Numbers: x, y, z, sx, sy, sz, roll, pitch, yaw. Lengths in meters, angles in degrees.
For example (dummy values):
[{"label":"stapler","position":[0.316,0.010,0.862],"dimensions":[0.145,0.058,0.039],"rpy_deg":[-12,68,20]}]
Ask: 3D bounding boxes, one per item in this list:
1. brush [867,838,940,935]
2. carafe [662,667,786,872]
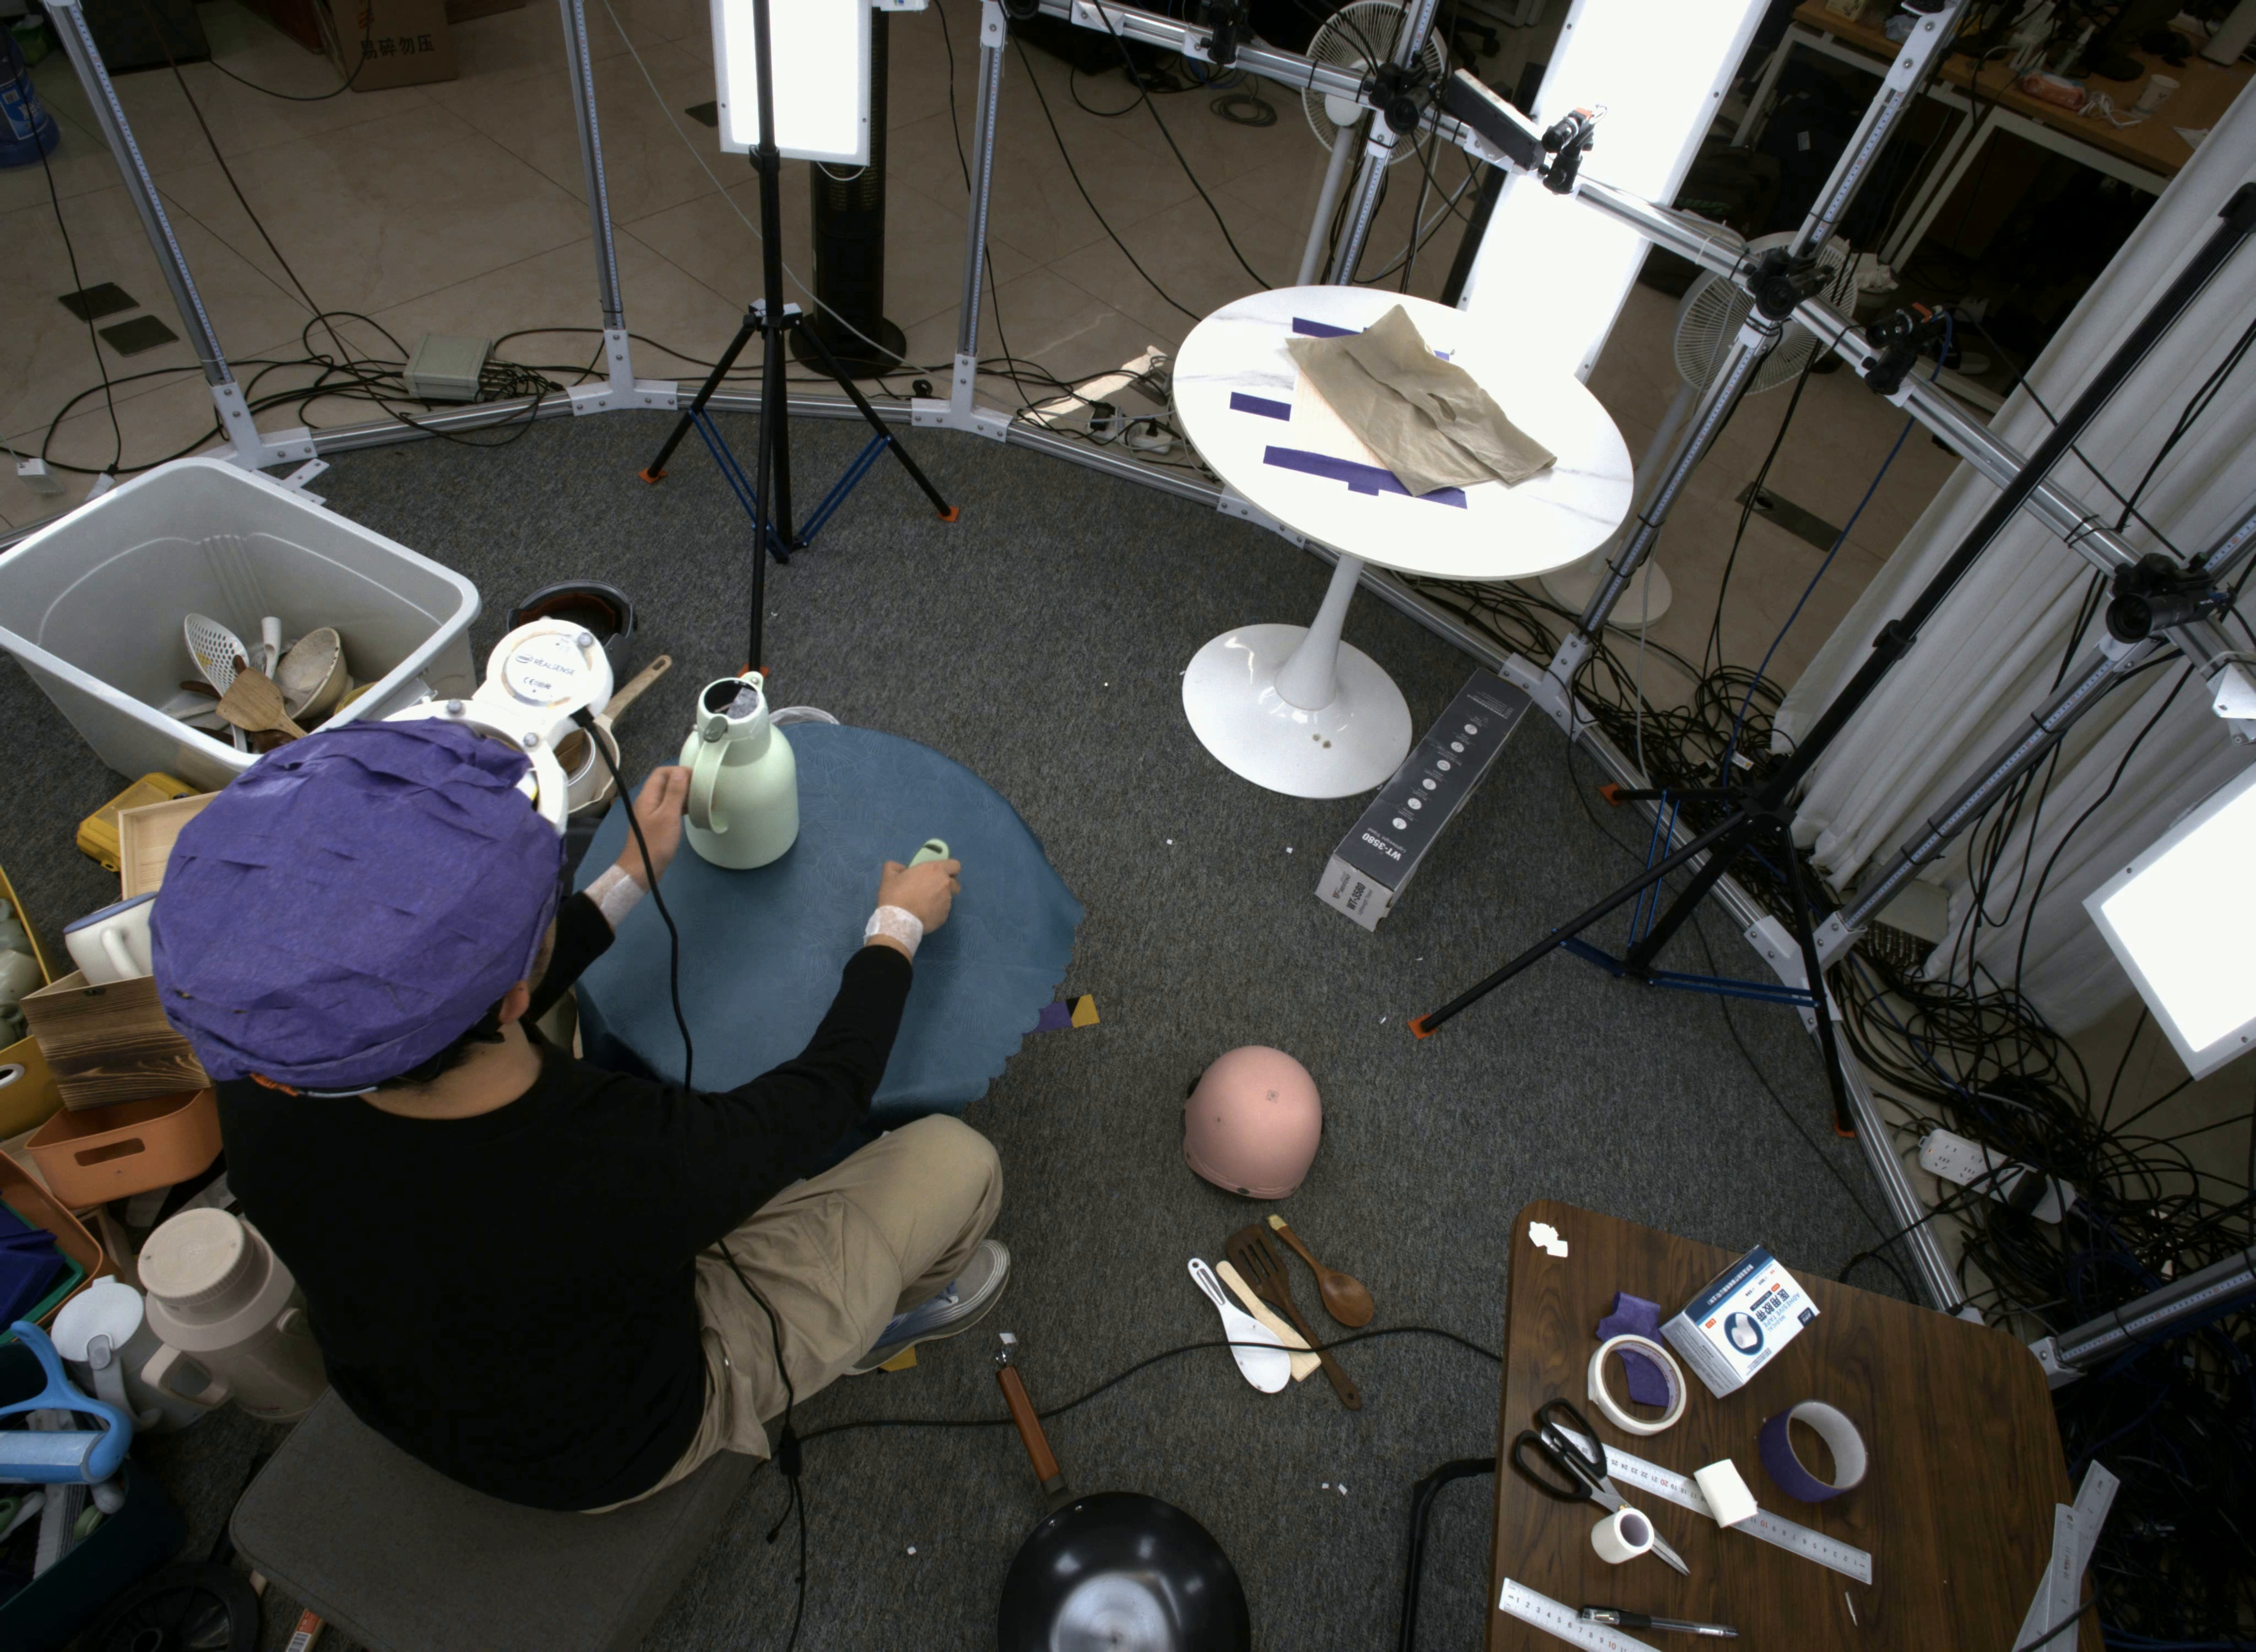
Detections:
[{"label":"brush","position":[-0.282,0.077,1.644],"dimensions":[0.059,0.076,0.123],"rpy_deg":[28,74,4]},{"label":"carafe","position":[-0.503,-0.061,1.577],"dimensions":[0.143,0.262,0.184],"rpy_deg":[14,53,-1]}]
